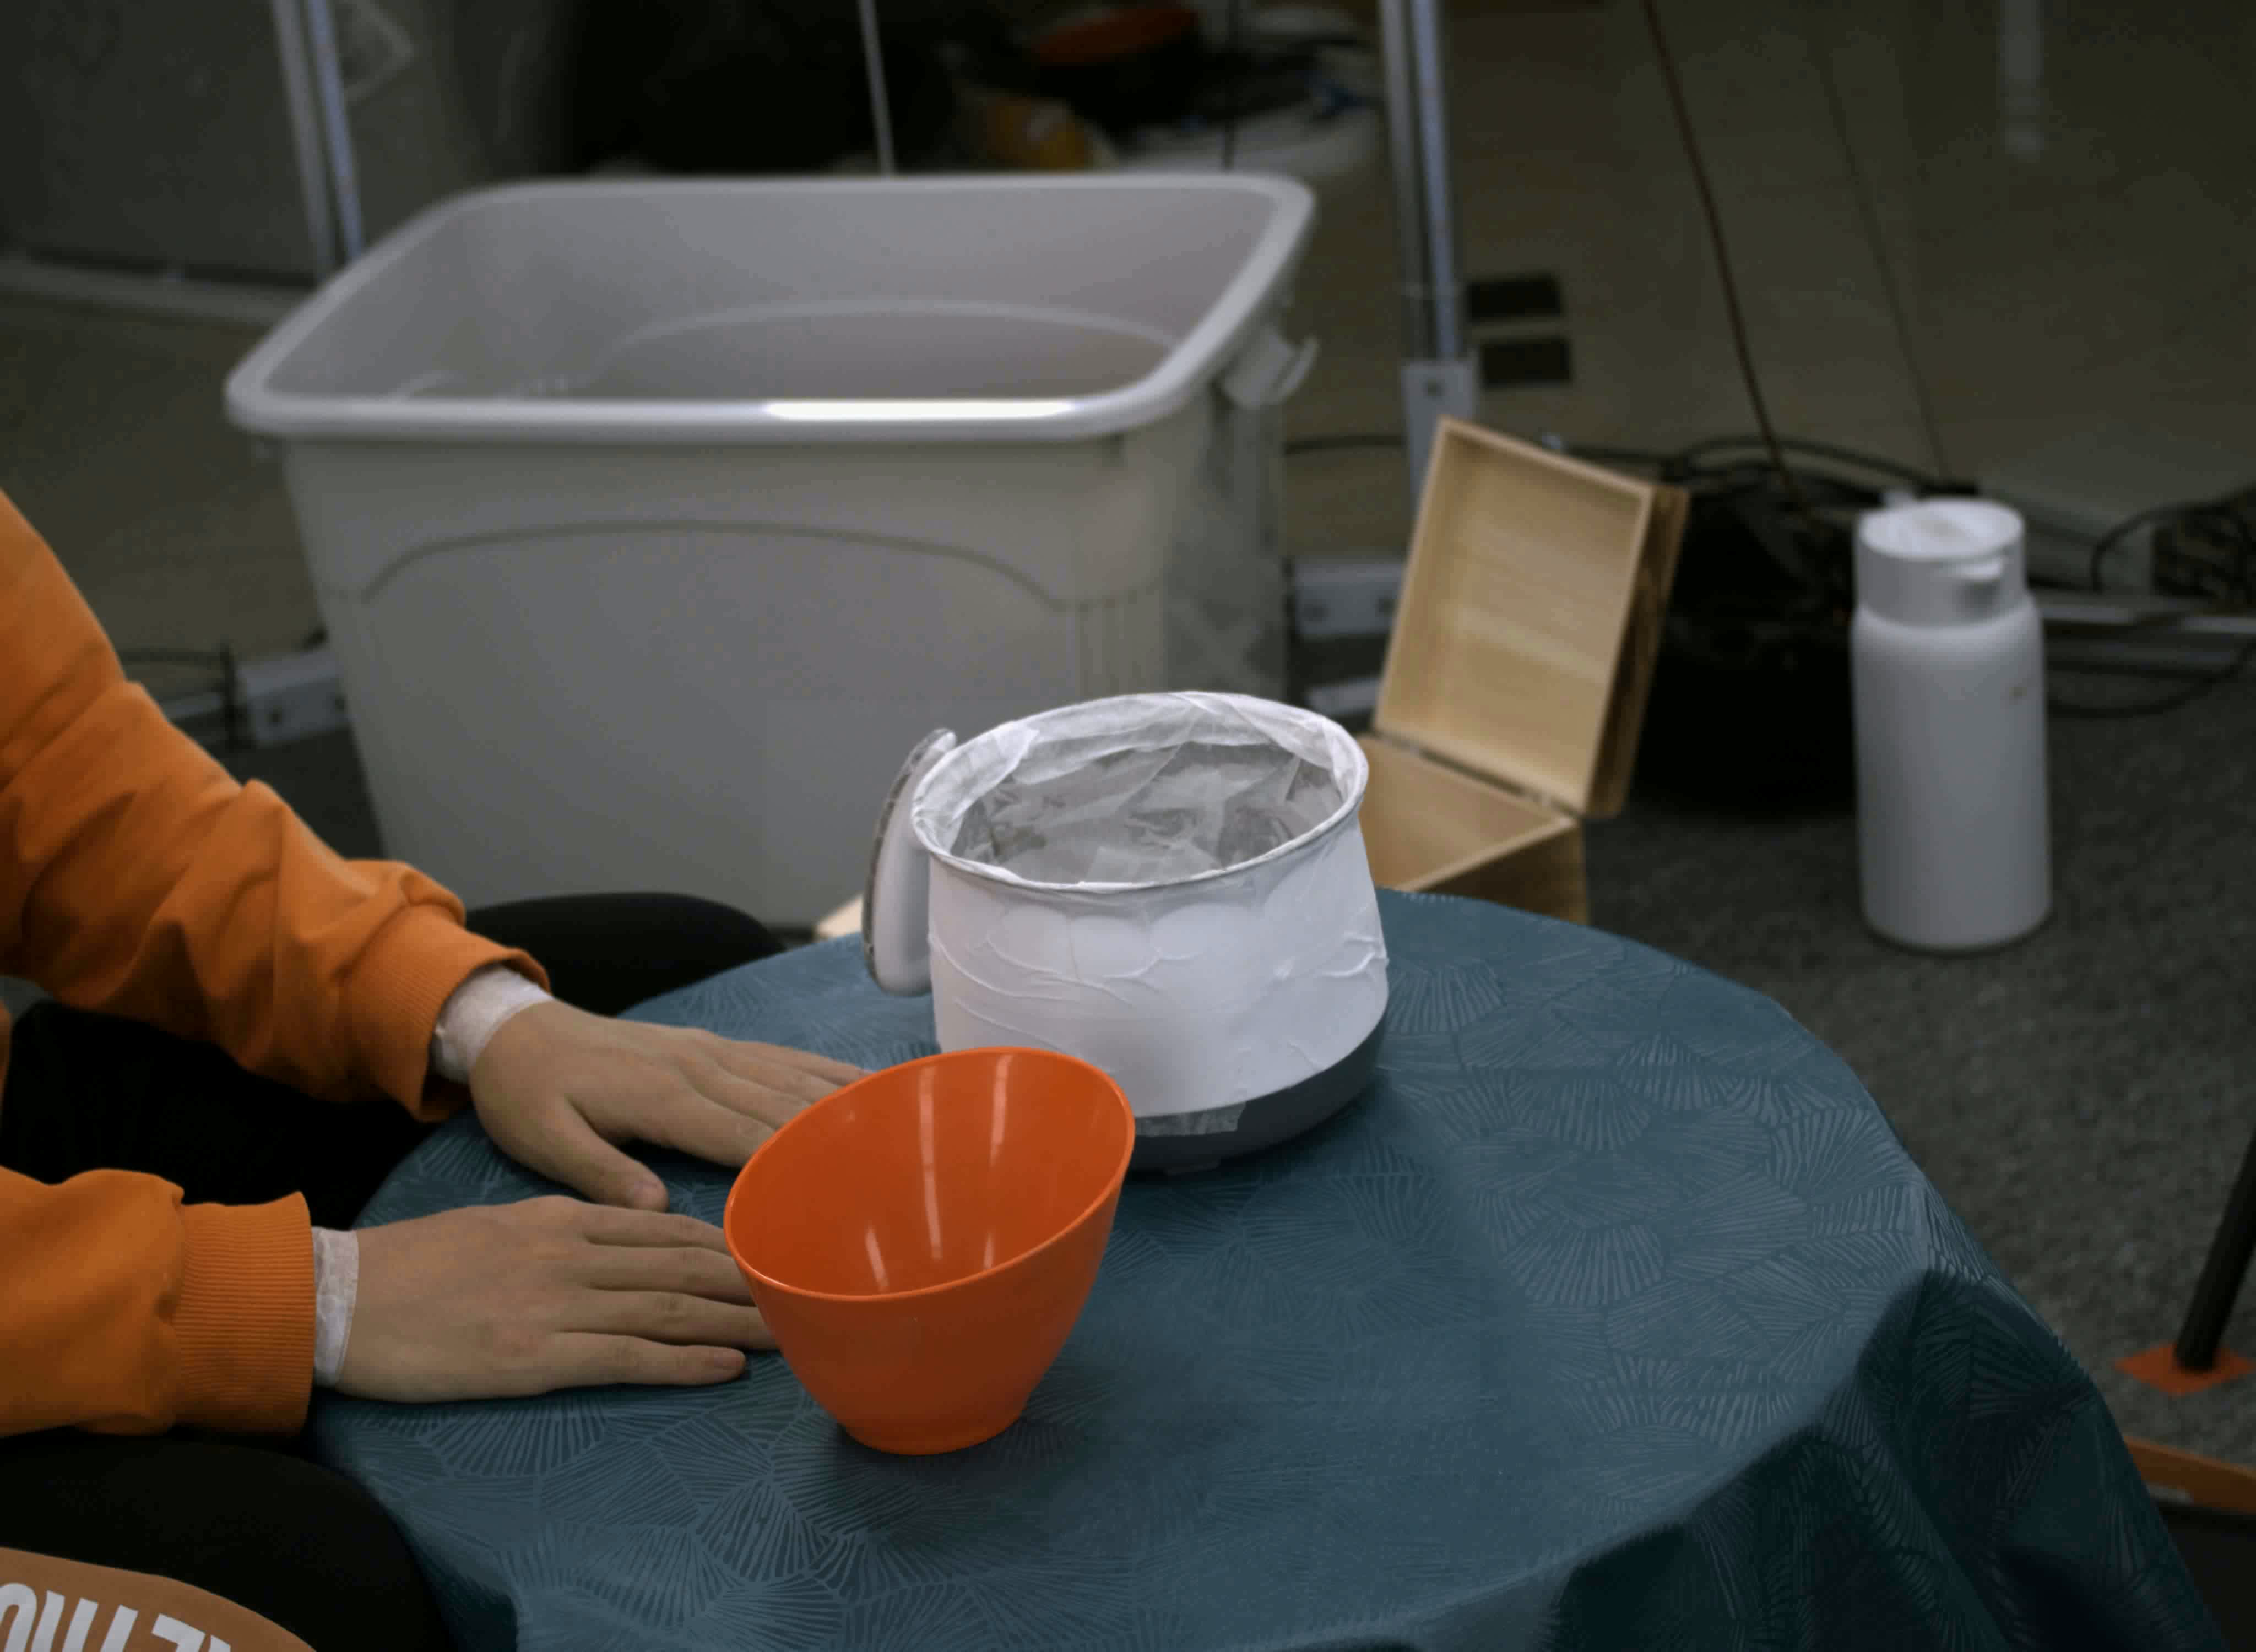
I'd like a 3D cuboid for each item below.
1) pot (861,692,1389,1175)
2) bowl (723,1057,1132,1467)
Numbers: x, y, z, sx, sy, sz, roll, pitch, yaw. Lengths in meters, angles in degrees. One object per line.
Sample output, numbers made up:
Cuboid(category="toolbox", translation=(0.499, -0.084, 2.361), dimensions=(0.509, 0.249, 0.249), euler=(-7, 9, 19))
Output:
Cuboid(category="pot", translation=(-0.012, 0.037, 2.203), dimensions=(0.232, 0.139, 0.177), euler=(13, 31, 35))
Cuboid(category="bowl", translation=(-0.065, 0.161, 2.002), dimensions=(0.148, 0.106, 0.146), euler=(-6, 26, 3))
